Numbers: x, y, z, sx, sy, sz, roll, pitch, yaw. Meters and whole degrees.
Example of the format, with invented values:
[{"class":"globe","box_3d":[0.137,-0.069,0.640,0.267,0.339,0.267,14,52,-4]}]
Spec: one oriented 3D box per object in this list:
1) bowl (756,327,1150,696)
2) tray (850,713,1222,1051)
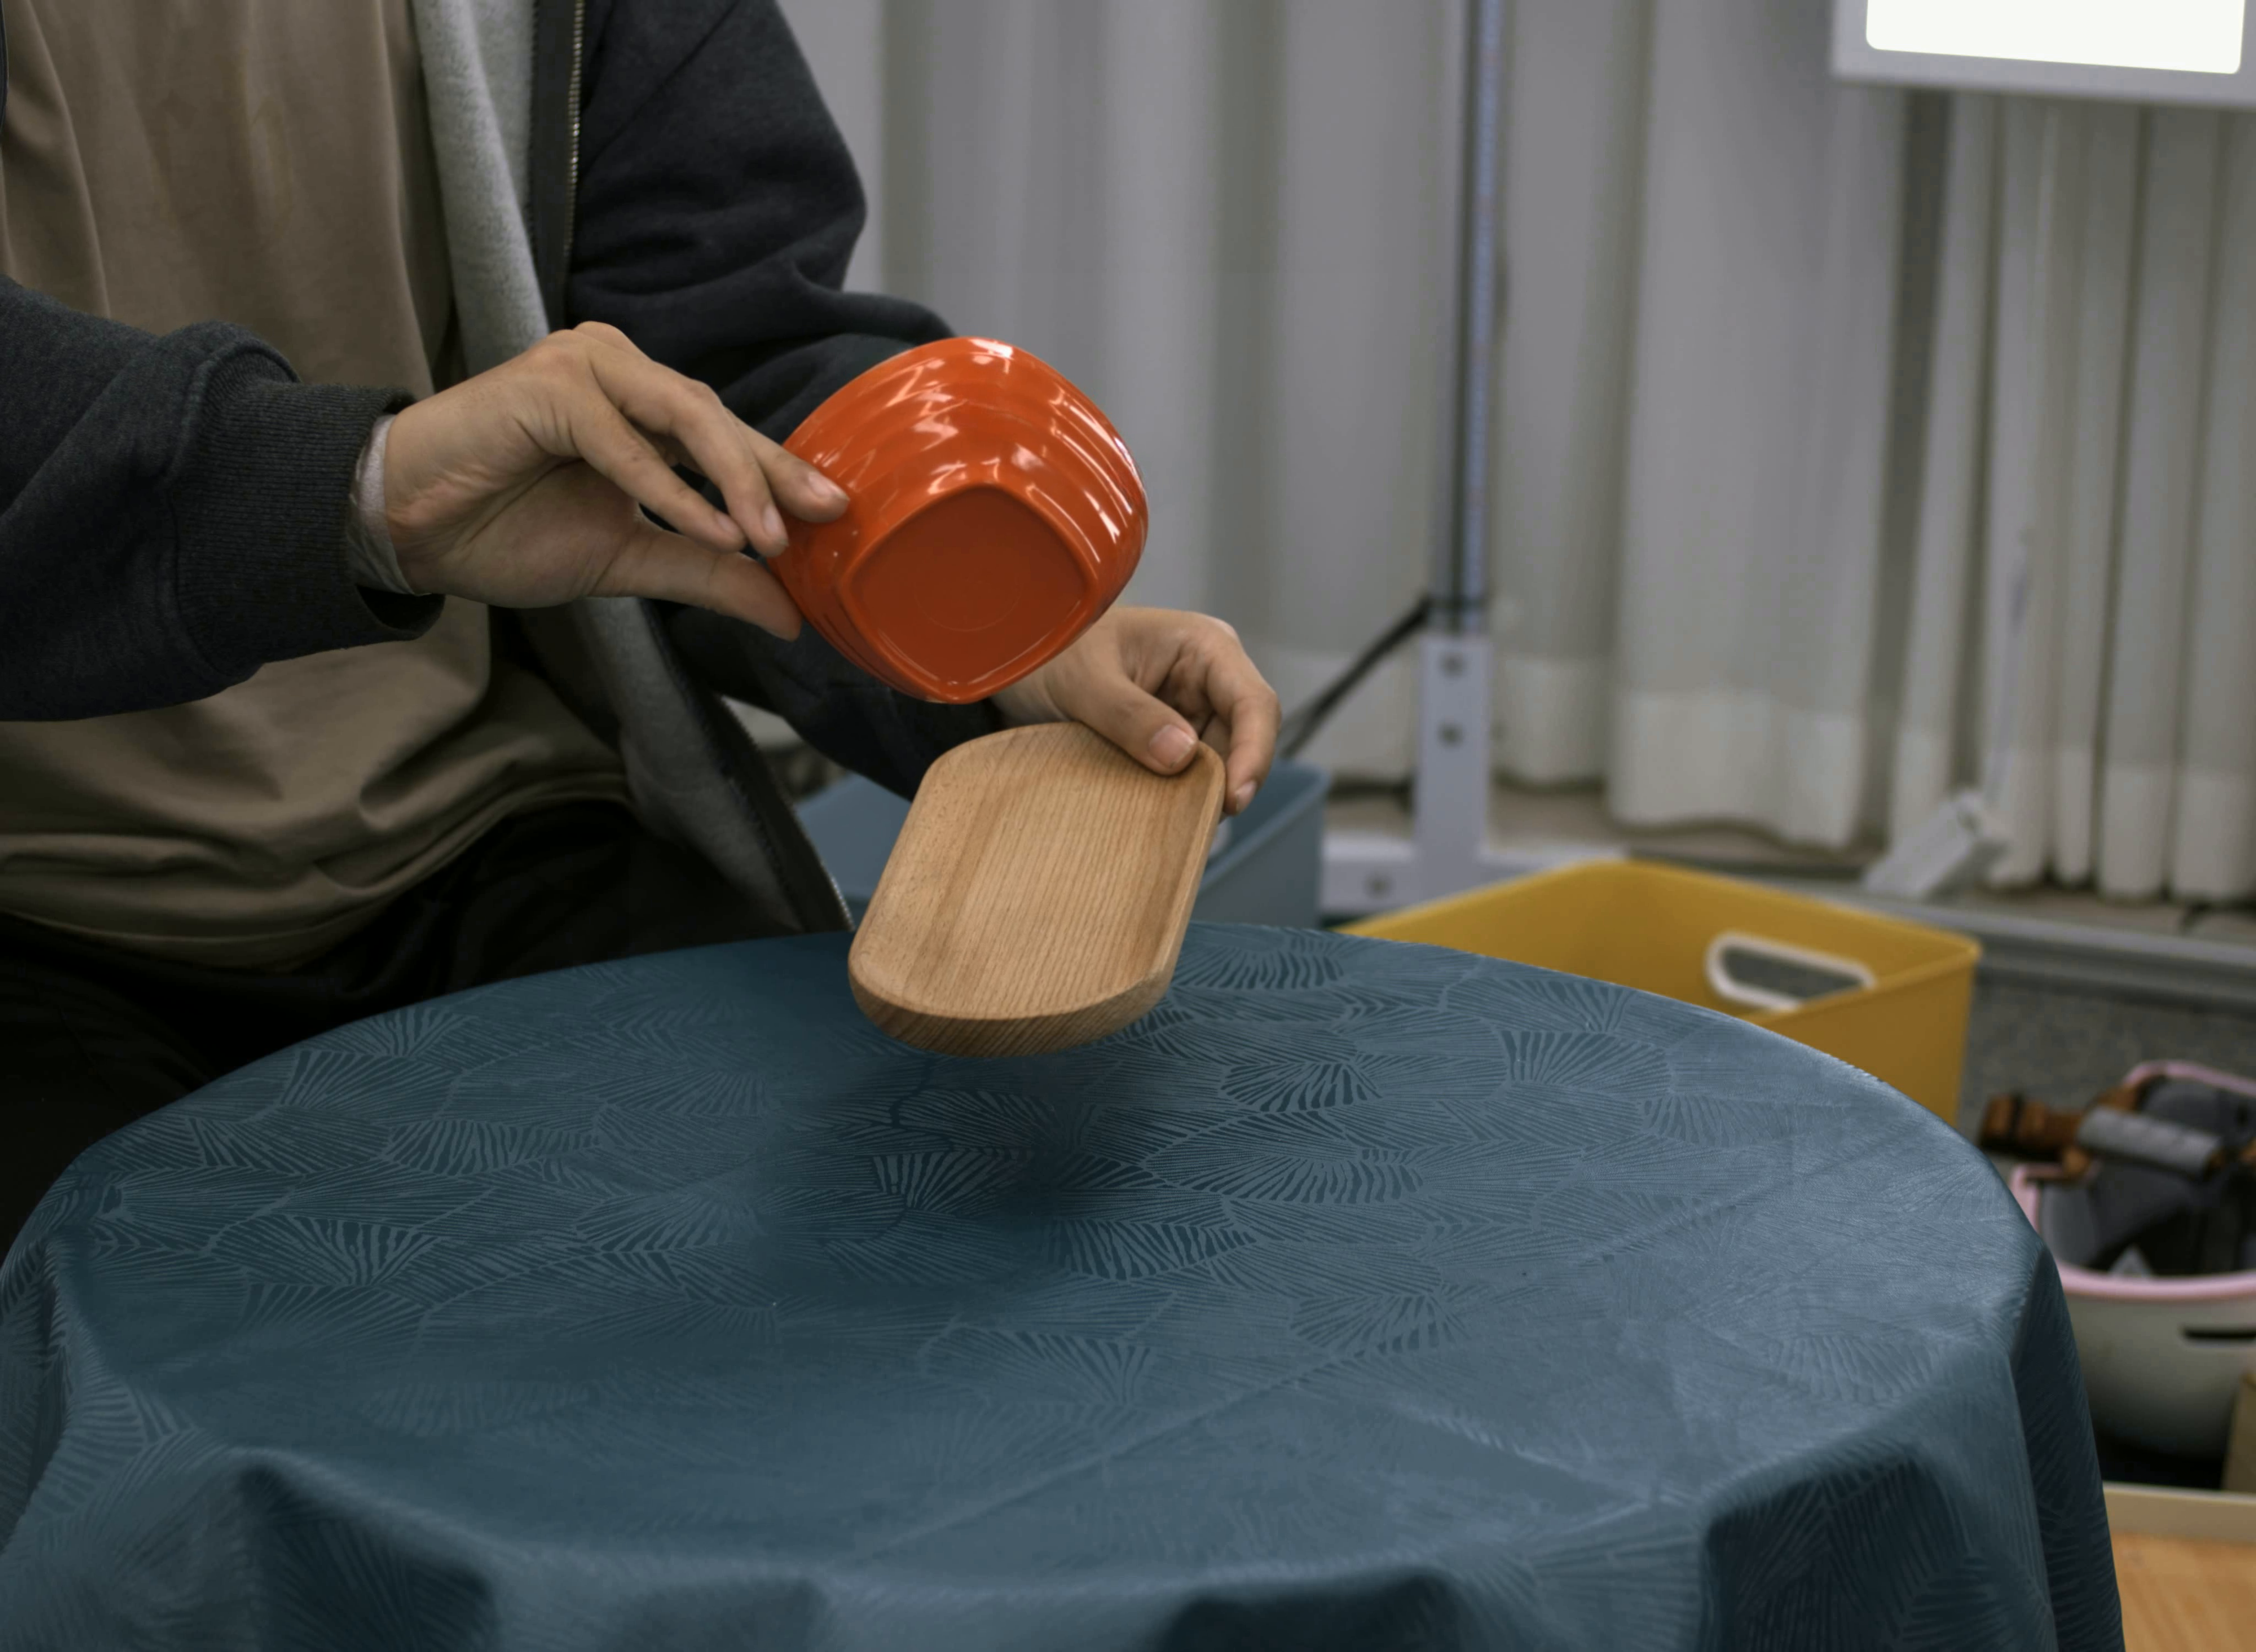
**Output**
[{"class":"bowl","box_3d":[-0.049,-0.083,1.547,0.119,0.120,0.051,-2,36,-9]},{"class":"tray","box_3d":[-0.027,0.015,1.667,0.101,0.020,0.230,1,23,6]}]
